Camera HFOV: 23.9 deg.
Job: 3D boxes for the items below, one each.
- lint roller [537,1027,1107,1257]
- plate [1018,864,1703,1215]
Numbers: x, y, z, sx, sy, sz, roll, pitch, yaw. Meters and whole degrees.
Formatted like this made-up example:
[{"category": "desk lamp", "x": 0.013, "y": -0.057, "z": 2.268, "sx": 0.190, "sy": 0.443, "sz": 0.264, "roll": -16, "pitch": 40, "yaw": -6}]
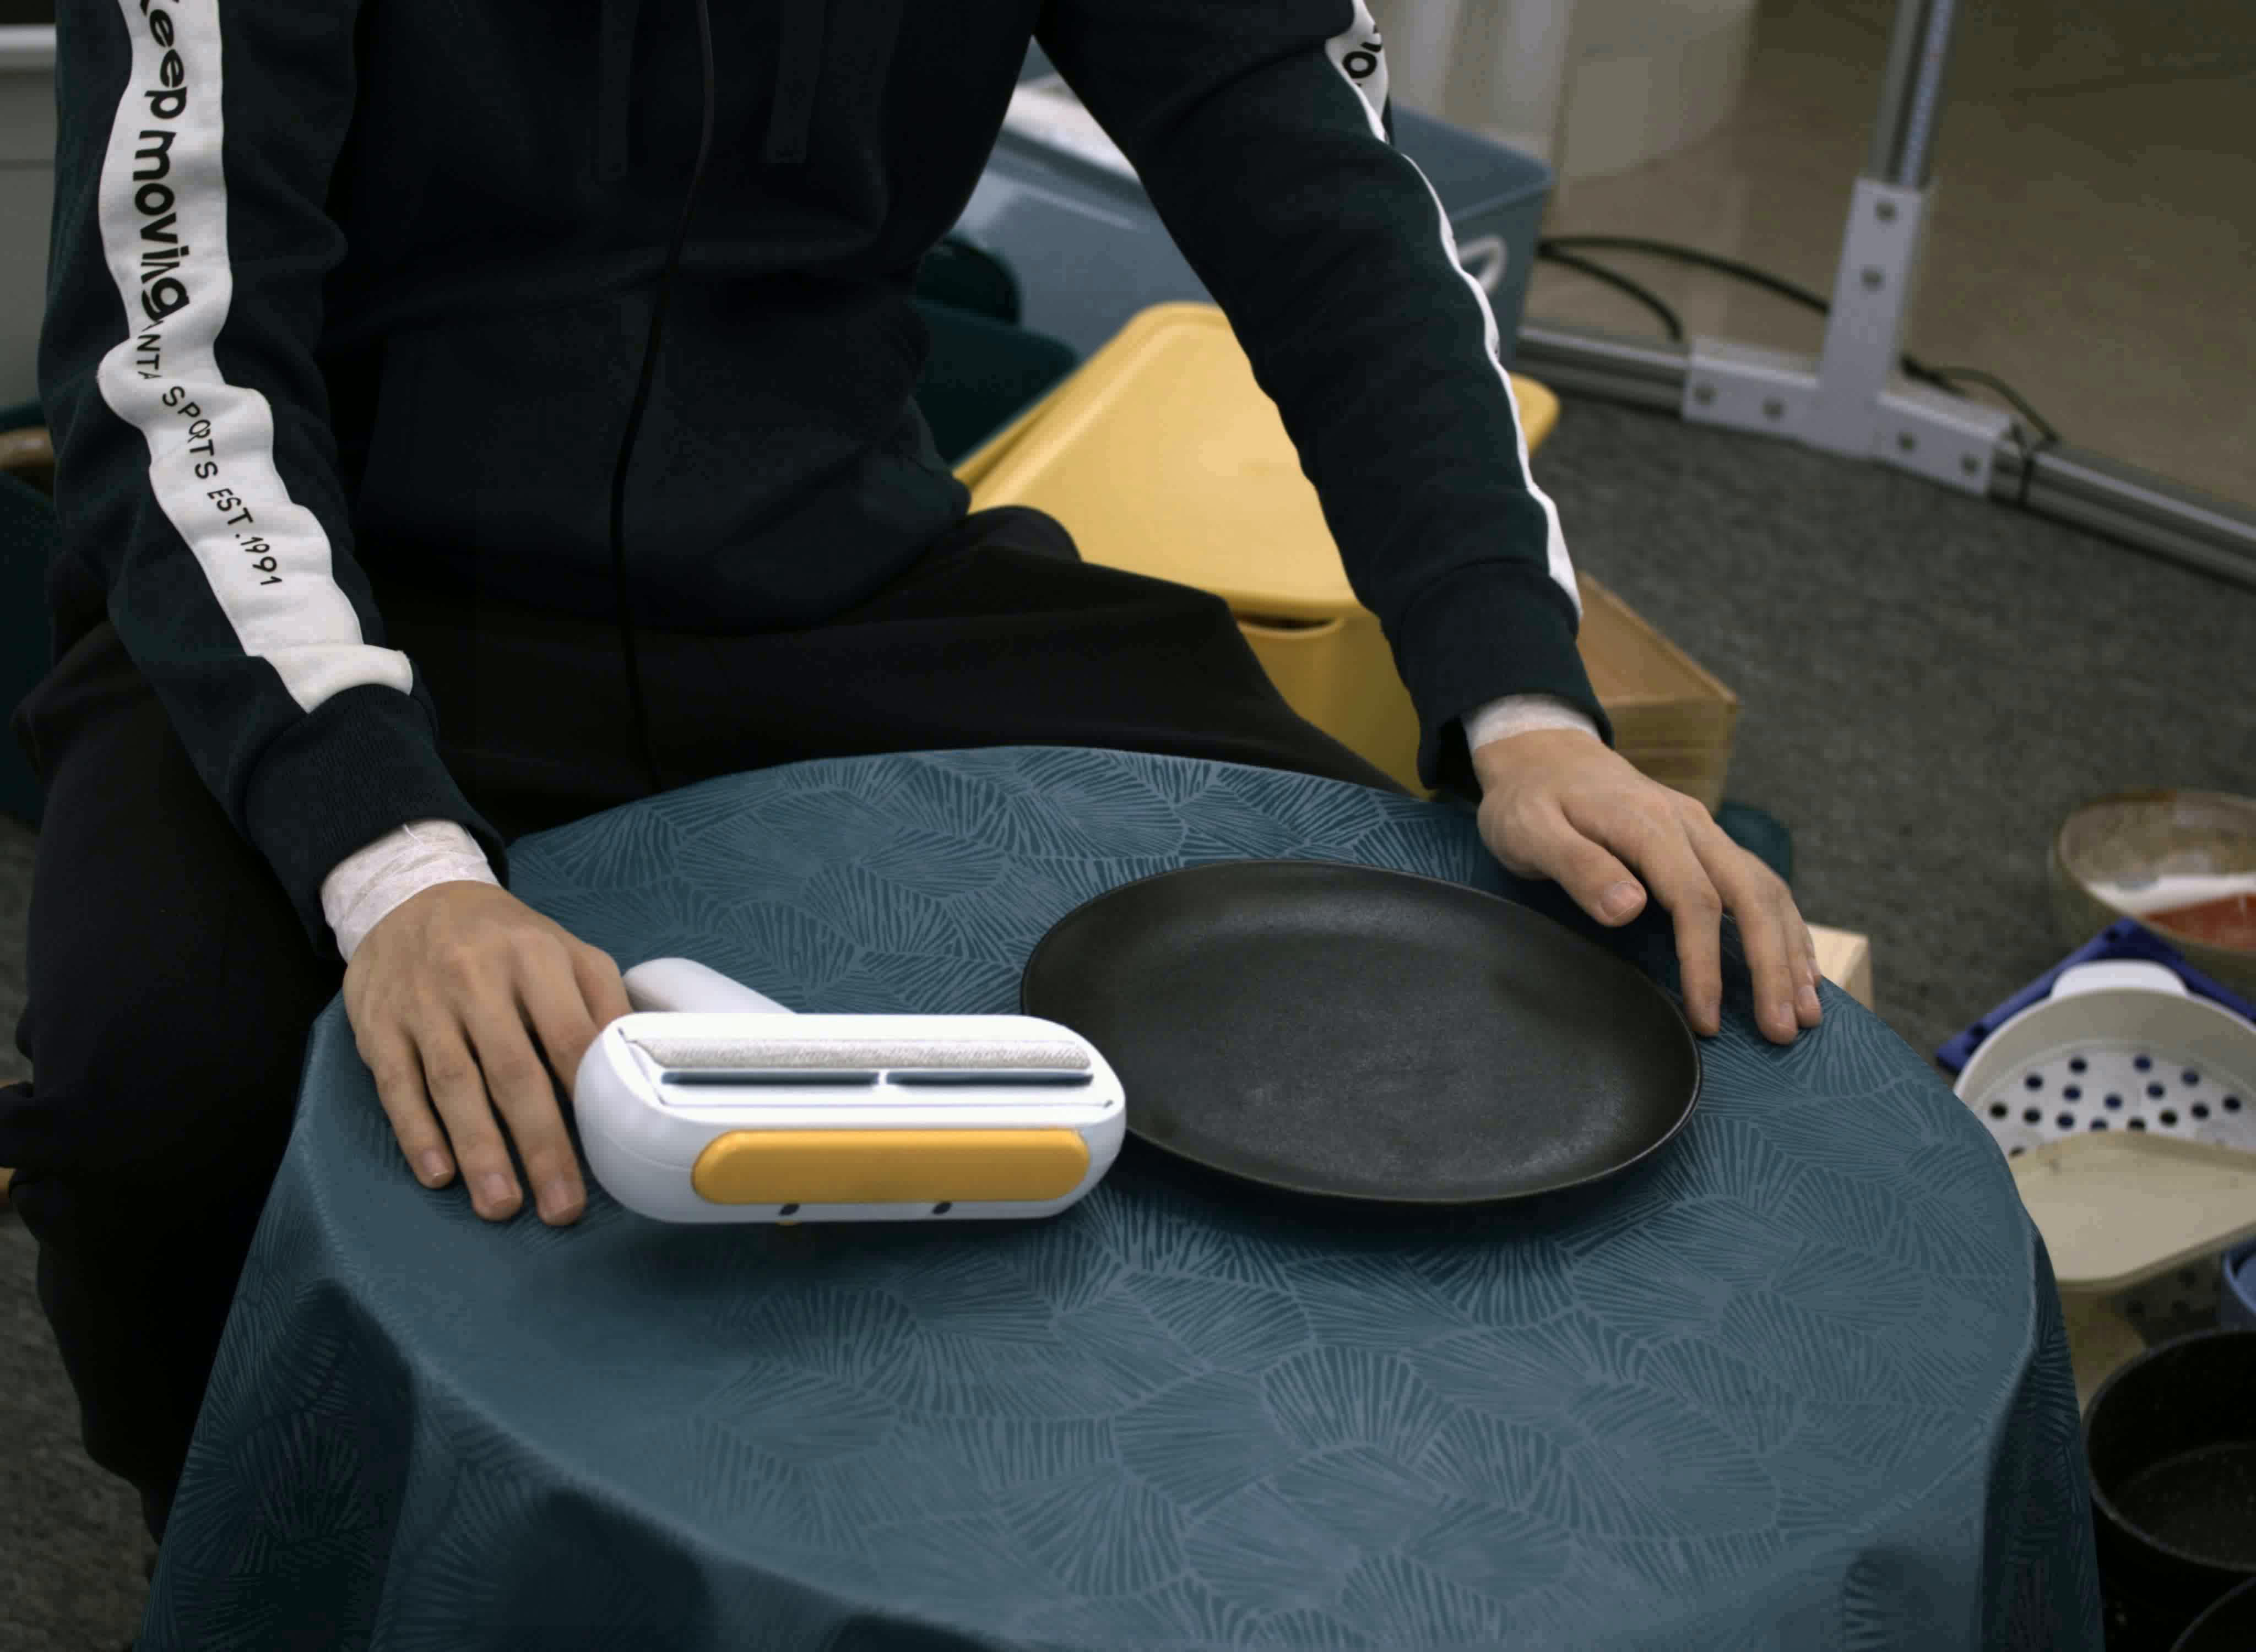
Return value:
[{"category": "lint roller", "x": -0.123, "y": 0.095, "z": 1.794, "sx": 0.191, "sy": 0.074, "sz": 0.194, "roll": 1, "pitch": 12, "yaw": -25}, {"category": "plate", "x": 0.081, "y": 0.079, "z": 1.879, "sx": 0.243, "sy": 0.023, "sz": 0.246, "roll": 5, "pitch": 27, "yaw": -3}]
